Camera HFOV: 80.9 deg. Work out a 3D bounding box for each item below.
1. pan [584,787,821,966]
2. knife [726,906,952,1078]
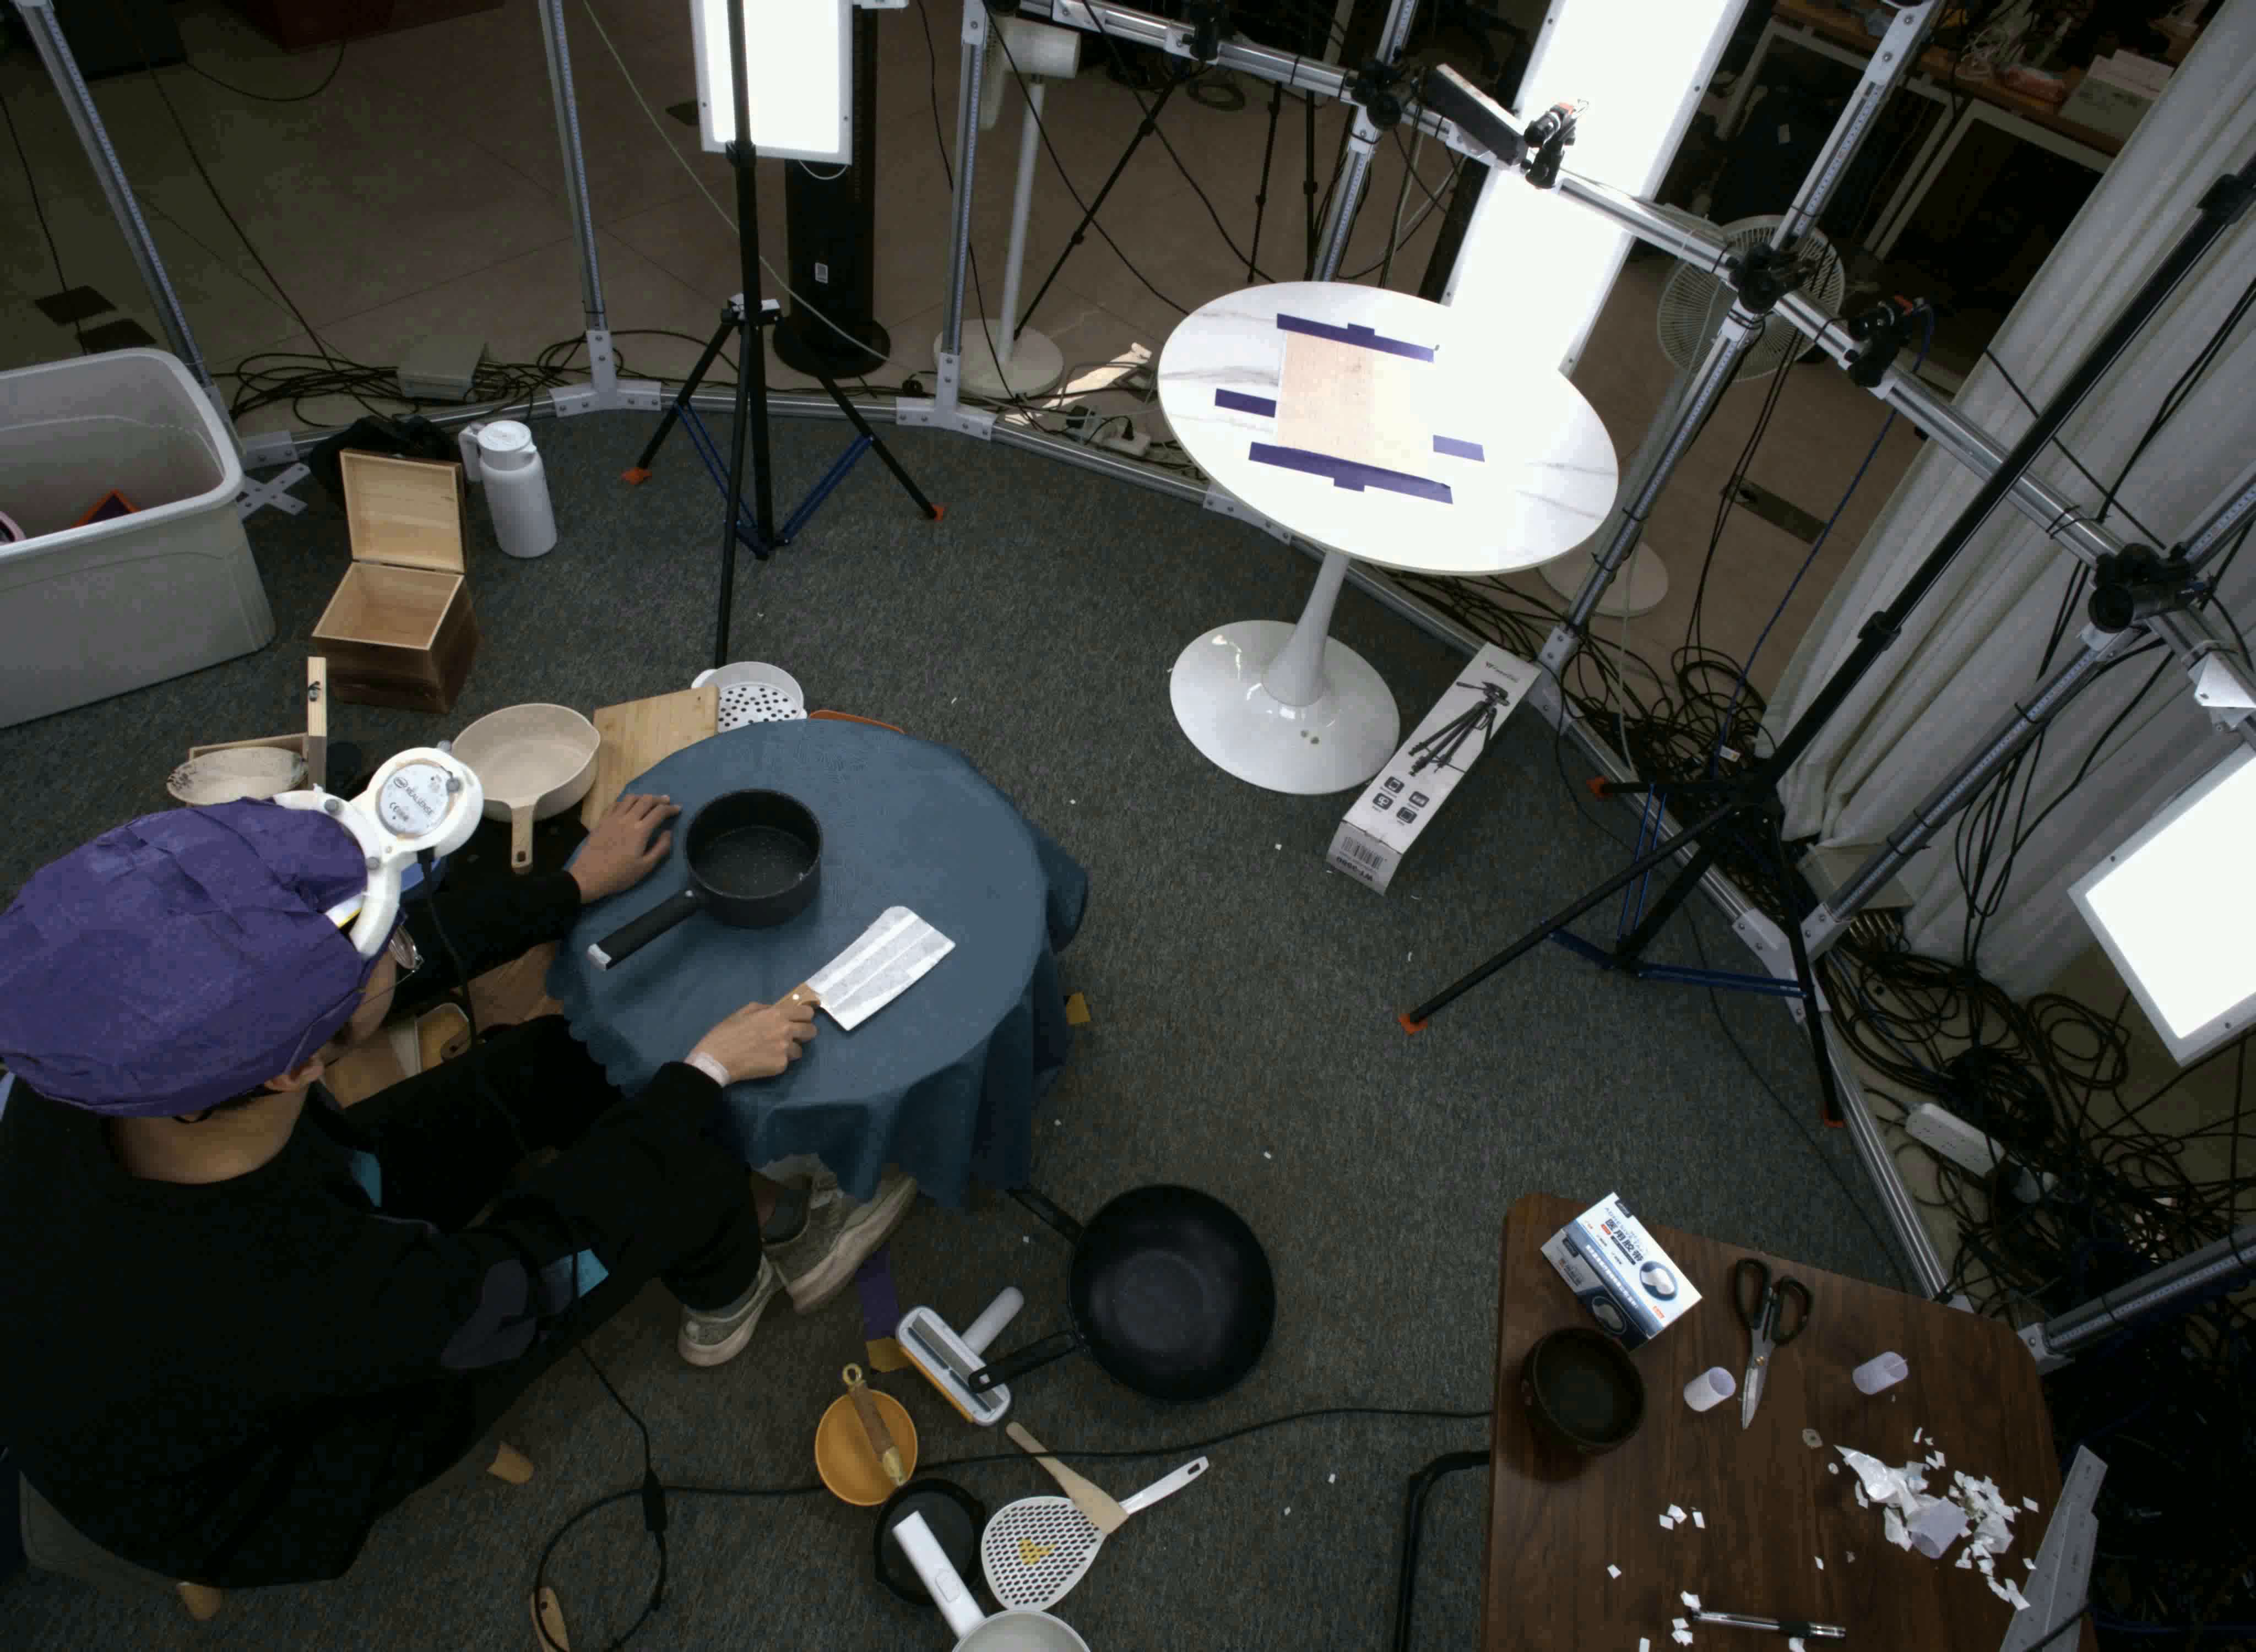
[{"bbox_3d":[-0.518,0.081,1.573,0.168,0.088,0.329,37,52,17],"label":"pan"},{"bbox_3d":[-0.352,0.197,1.573,0.111,0.022,0.316,41,52,16],"label":"knife"}]
